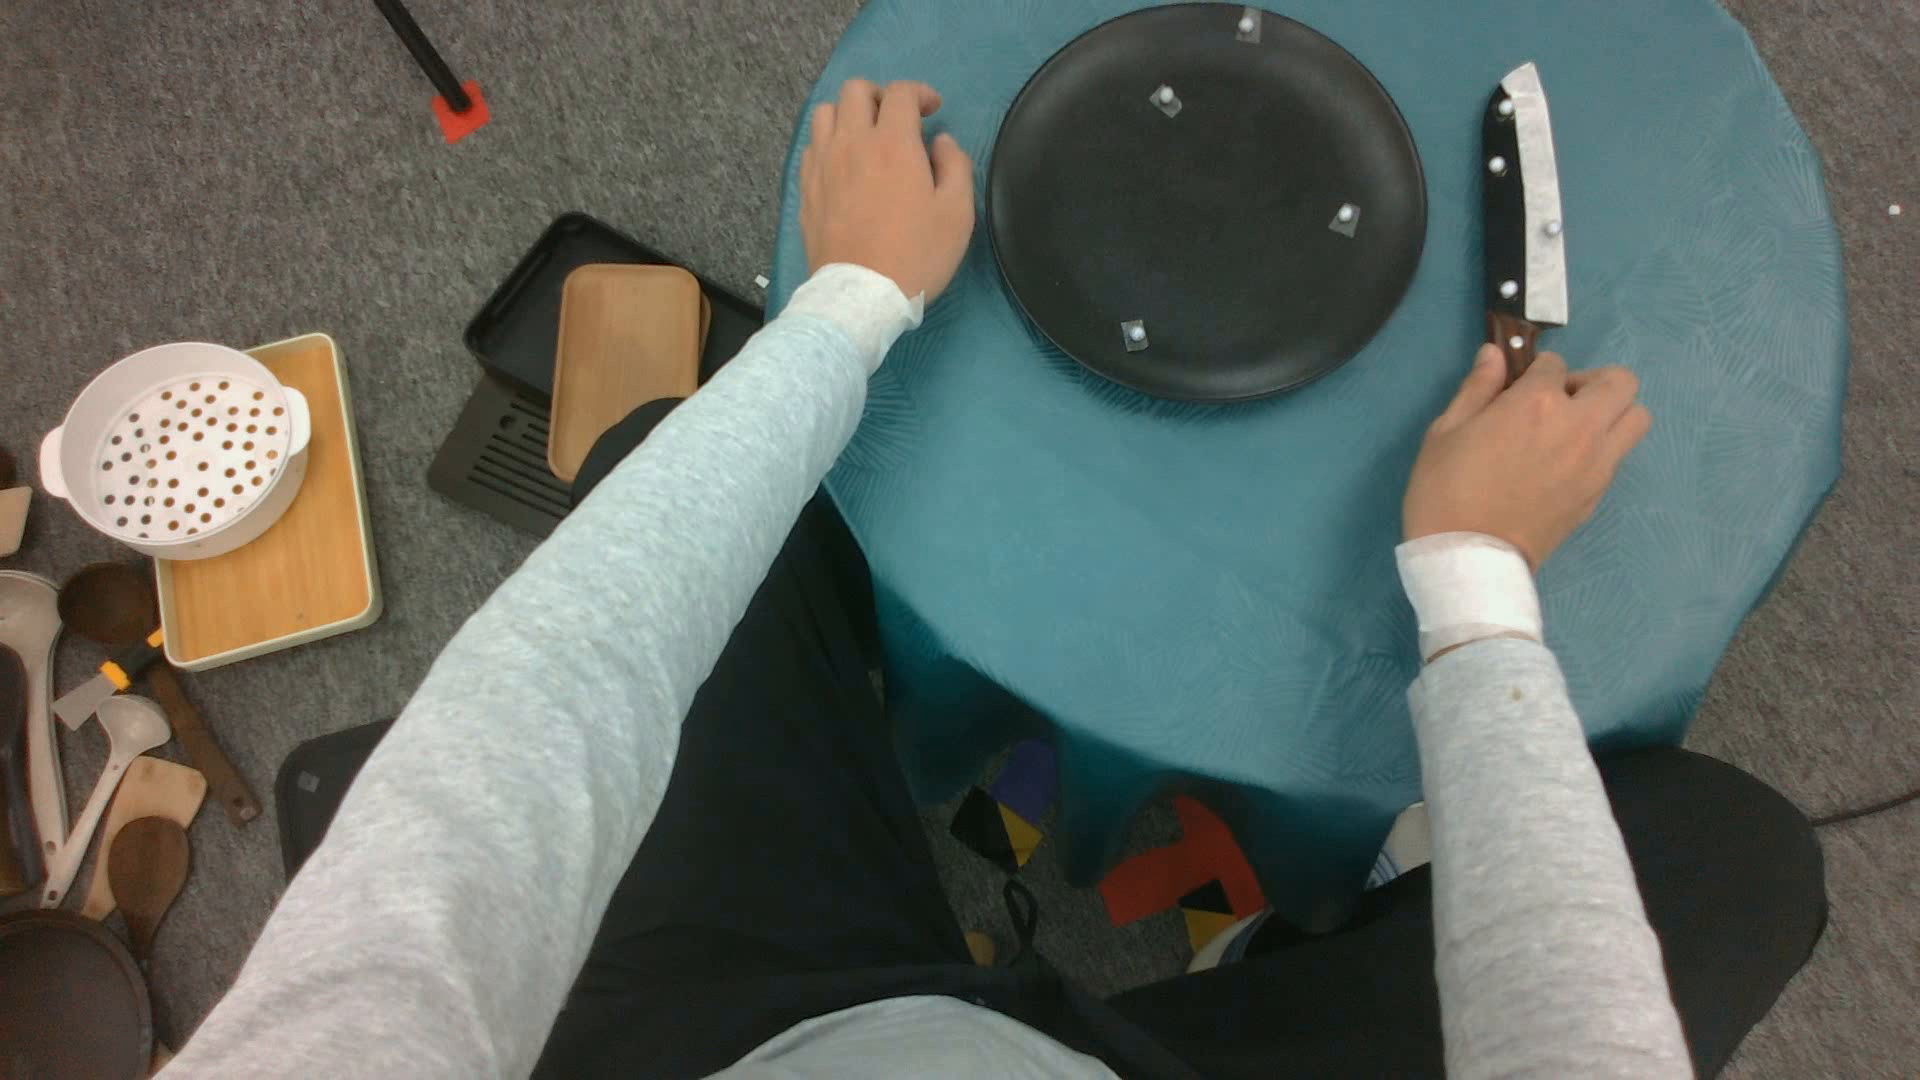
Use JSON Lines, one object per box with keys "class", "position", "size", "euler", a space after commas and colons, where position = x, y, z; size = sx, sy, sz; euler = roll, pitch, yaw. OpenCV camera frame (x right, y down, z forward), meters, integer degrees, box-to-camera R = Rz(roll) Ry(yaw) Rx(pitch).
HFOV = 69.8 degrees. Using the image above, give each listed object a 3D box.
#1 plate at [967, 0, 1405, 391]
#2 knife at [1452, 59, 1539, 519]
{"class": "plate", "position": [0.126, -0.195, 0.774], "size": [0.244, 0.023, 0.245], "euler": [0, 75, 0]}
{"class": "knife", "position": [0.296, -0.147, 0.761], "size": [0.050, 0.020, 0.290], "euler": [8, 71, -2]}
